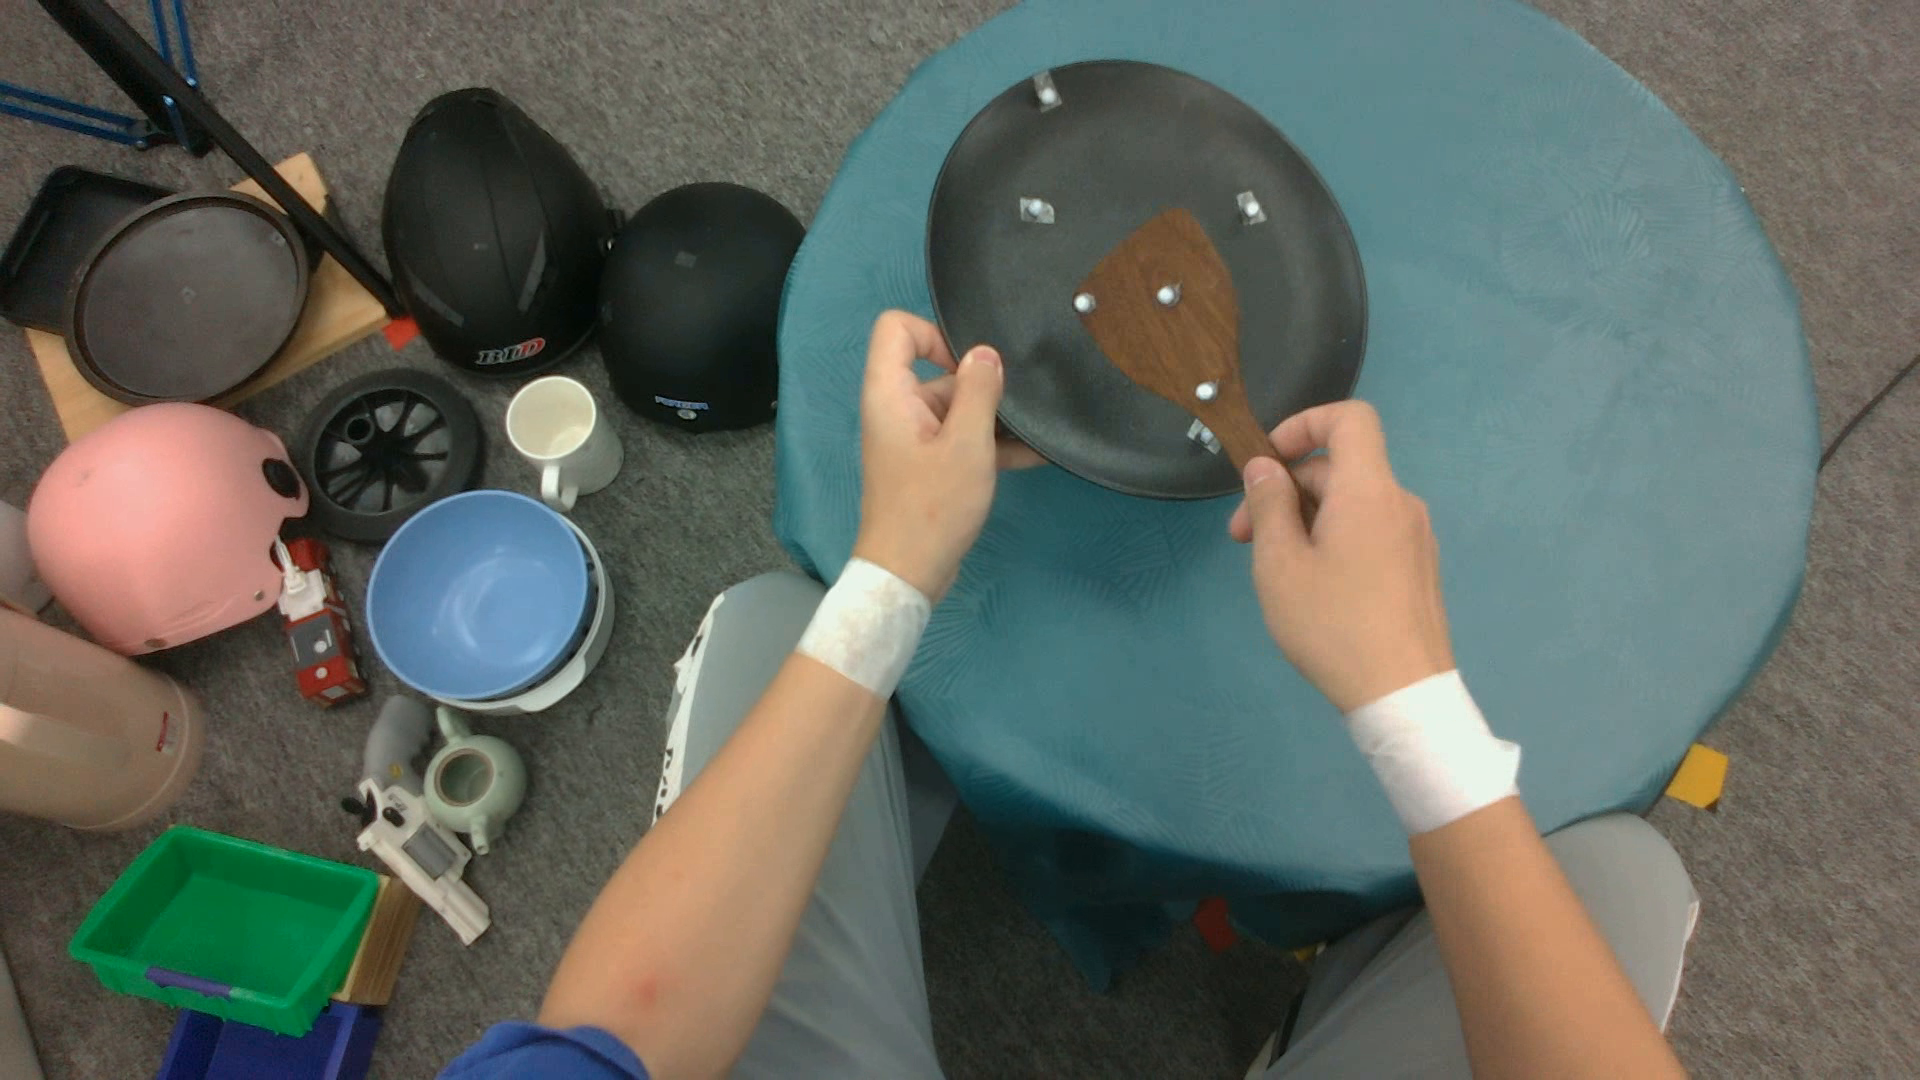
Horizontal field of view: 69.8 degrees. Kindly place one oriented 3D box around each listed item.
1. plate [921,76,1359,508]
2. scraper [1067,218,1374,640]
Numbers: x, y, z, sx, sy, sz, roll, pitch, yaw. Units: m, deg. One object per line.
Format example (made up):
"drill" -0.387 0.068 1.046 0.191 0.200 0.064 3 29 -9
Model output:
"plate" 0.096 -0.132 0.724 0.244 0.023 0.245 4 73 -15
"scraper" 0.127 -0.049 0.642 0.075 0.011 0.211 -36 77 27
